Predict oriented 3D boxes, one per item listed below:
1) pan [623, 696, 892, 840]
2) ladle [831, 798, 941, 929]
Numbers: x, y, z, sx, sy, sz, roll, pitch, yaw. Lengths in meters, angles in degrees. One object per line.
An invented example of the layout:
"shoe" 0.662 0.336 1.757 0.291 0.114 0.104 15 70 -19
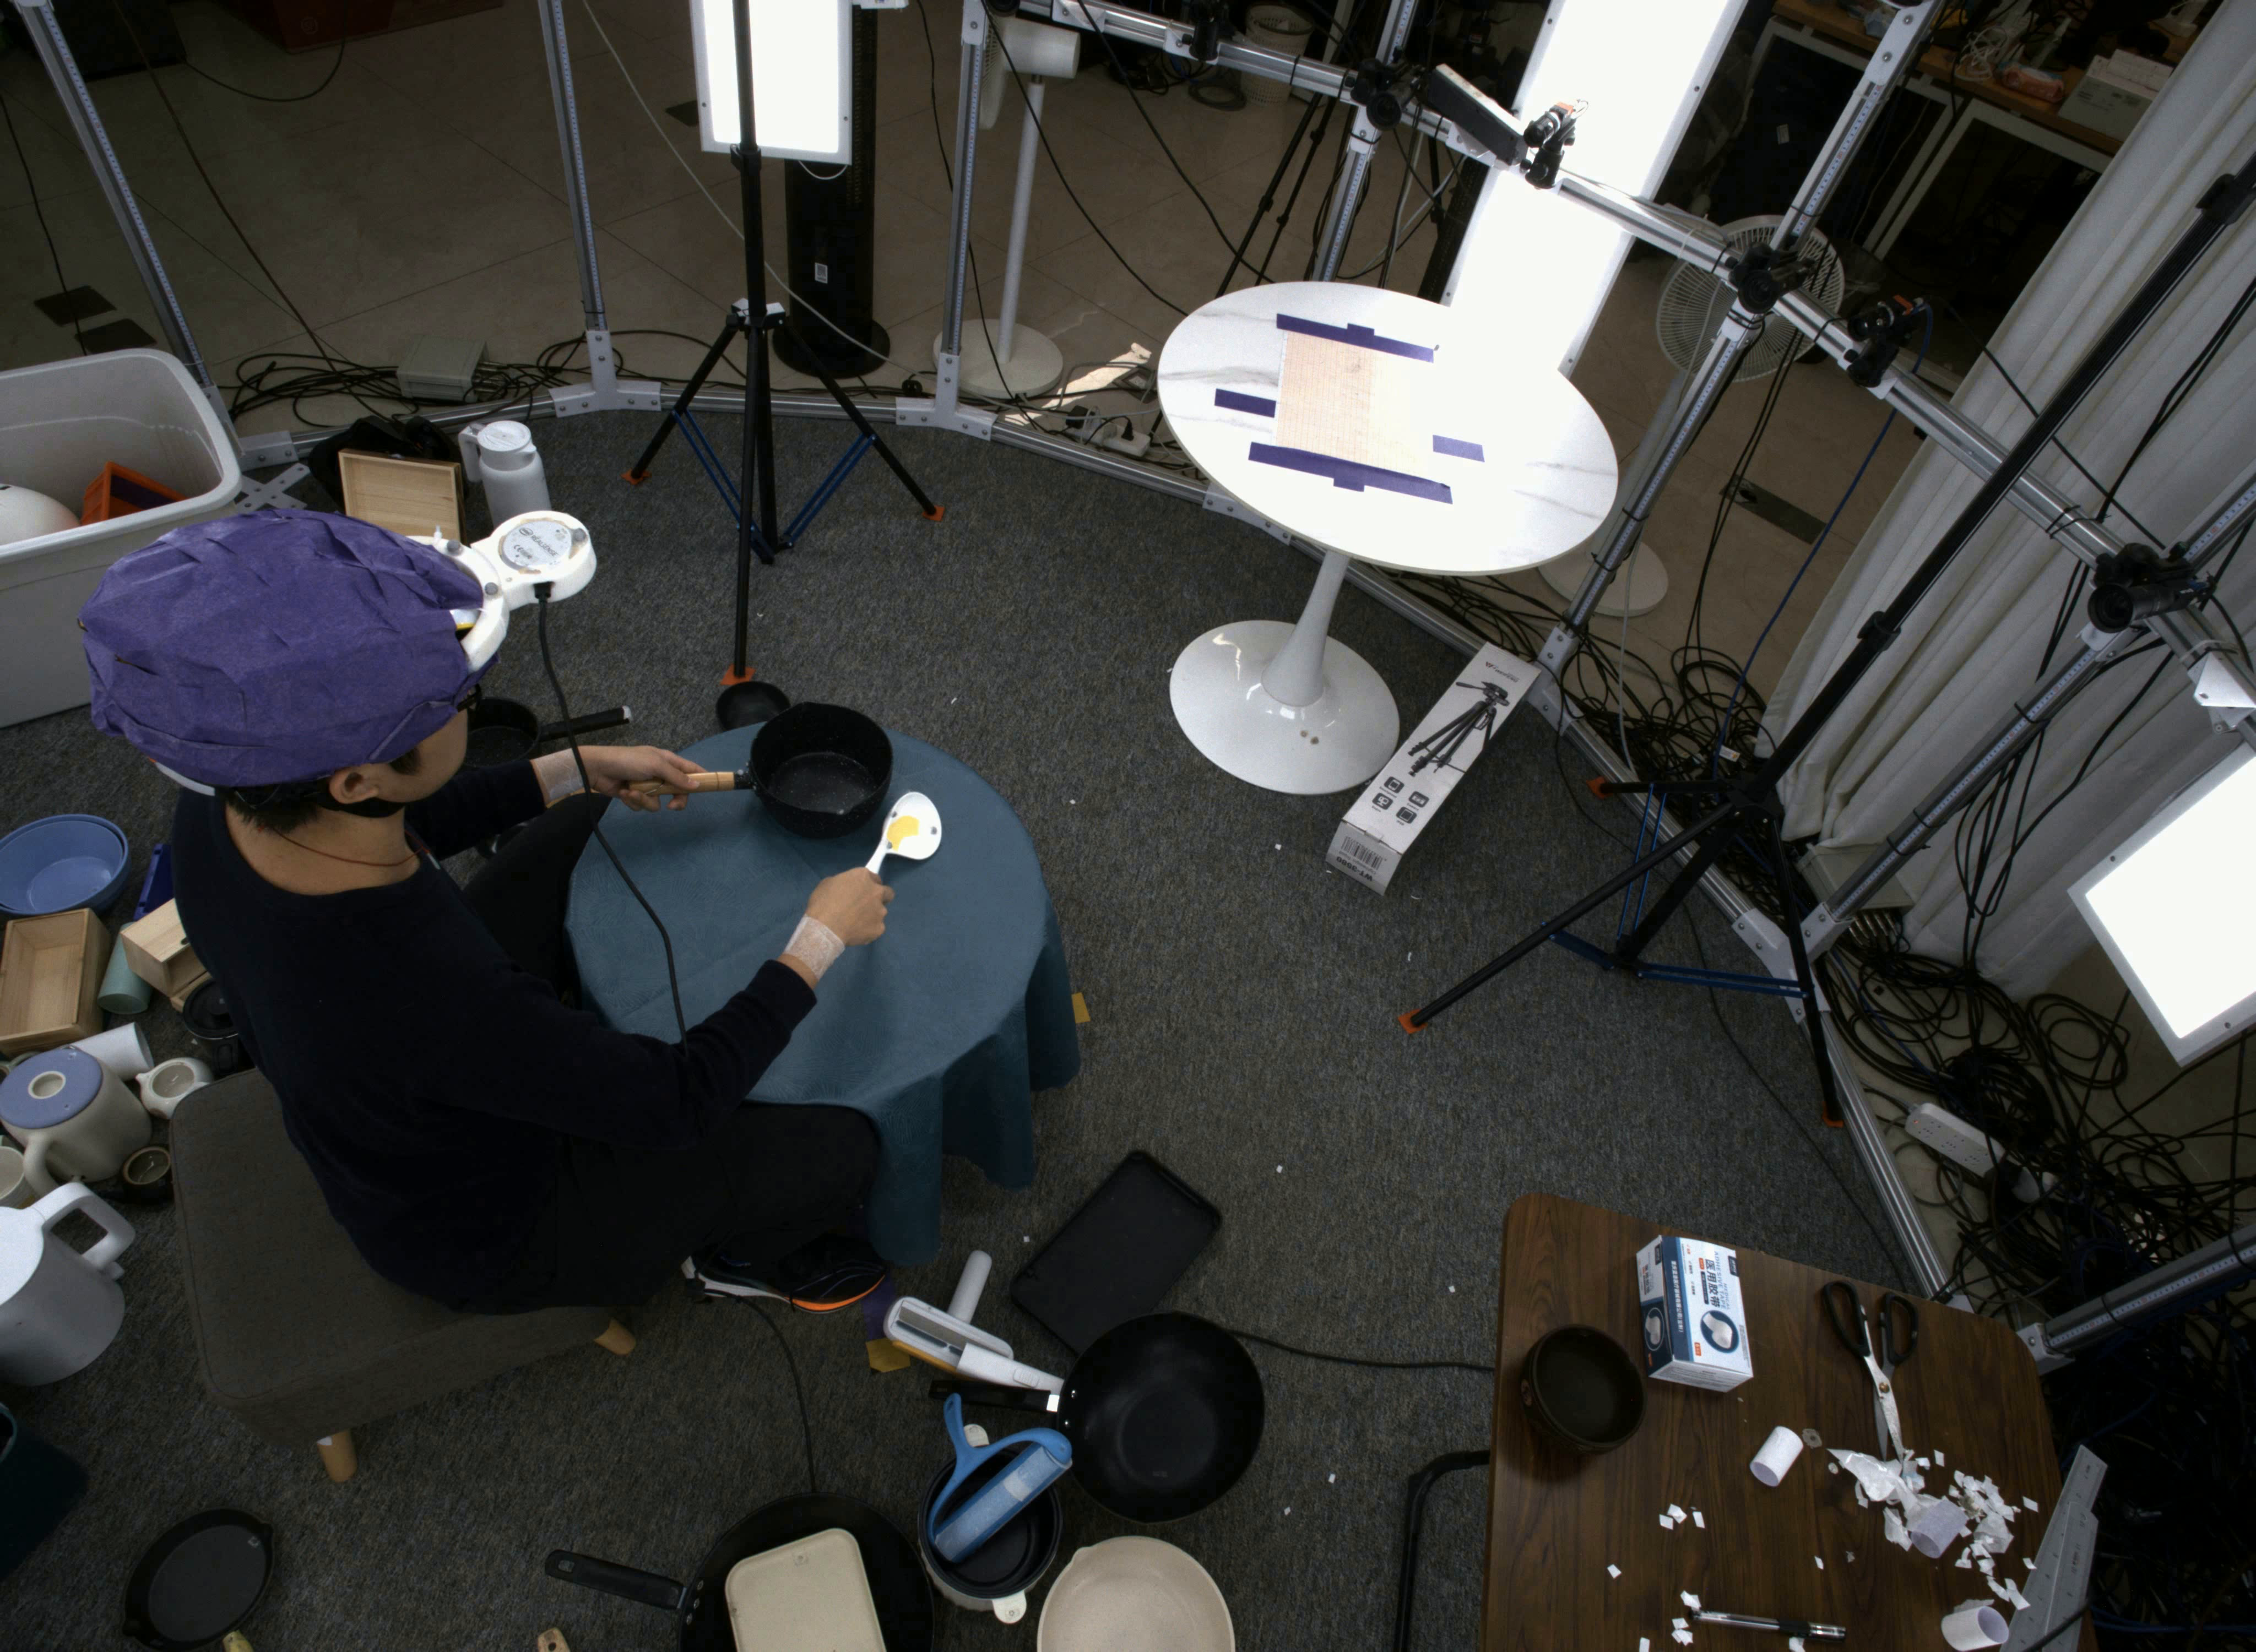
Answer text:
"pan" -0.476 -0.057 1.673 0.345 0.110 0.202 -14 59 -25
"ladle" -0.293 0.048 1.604 0.069 0.093 0.289 -9 19 7
